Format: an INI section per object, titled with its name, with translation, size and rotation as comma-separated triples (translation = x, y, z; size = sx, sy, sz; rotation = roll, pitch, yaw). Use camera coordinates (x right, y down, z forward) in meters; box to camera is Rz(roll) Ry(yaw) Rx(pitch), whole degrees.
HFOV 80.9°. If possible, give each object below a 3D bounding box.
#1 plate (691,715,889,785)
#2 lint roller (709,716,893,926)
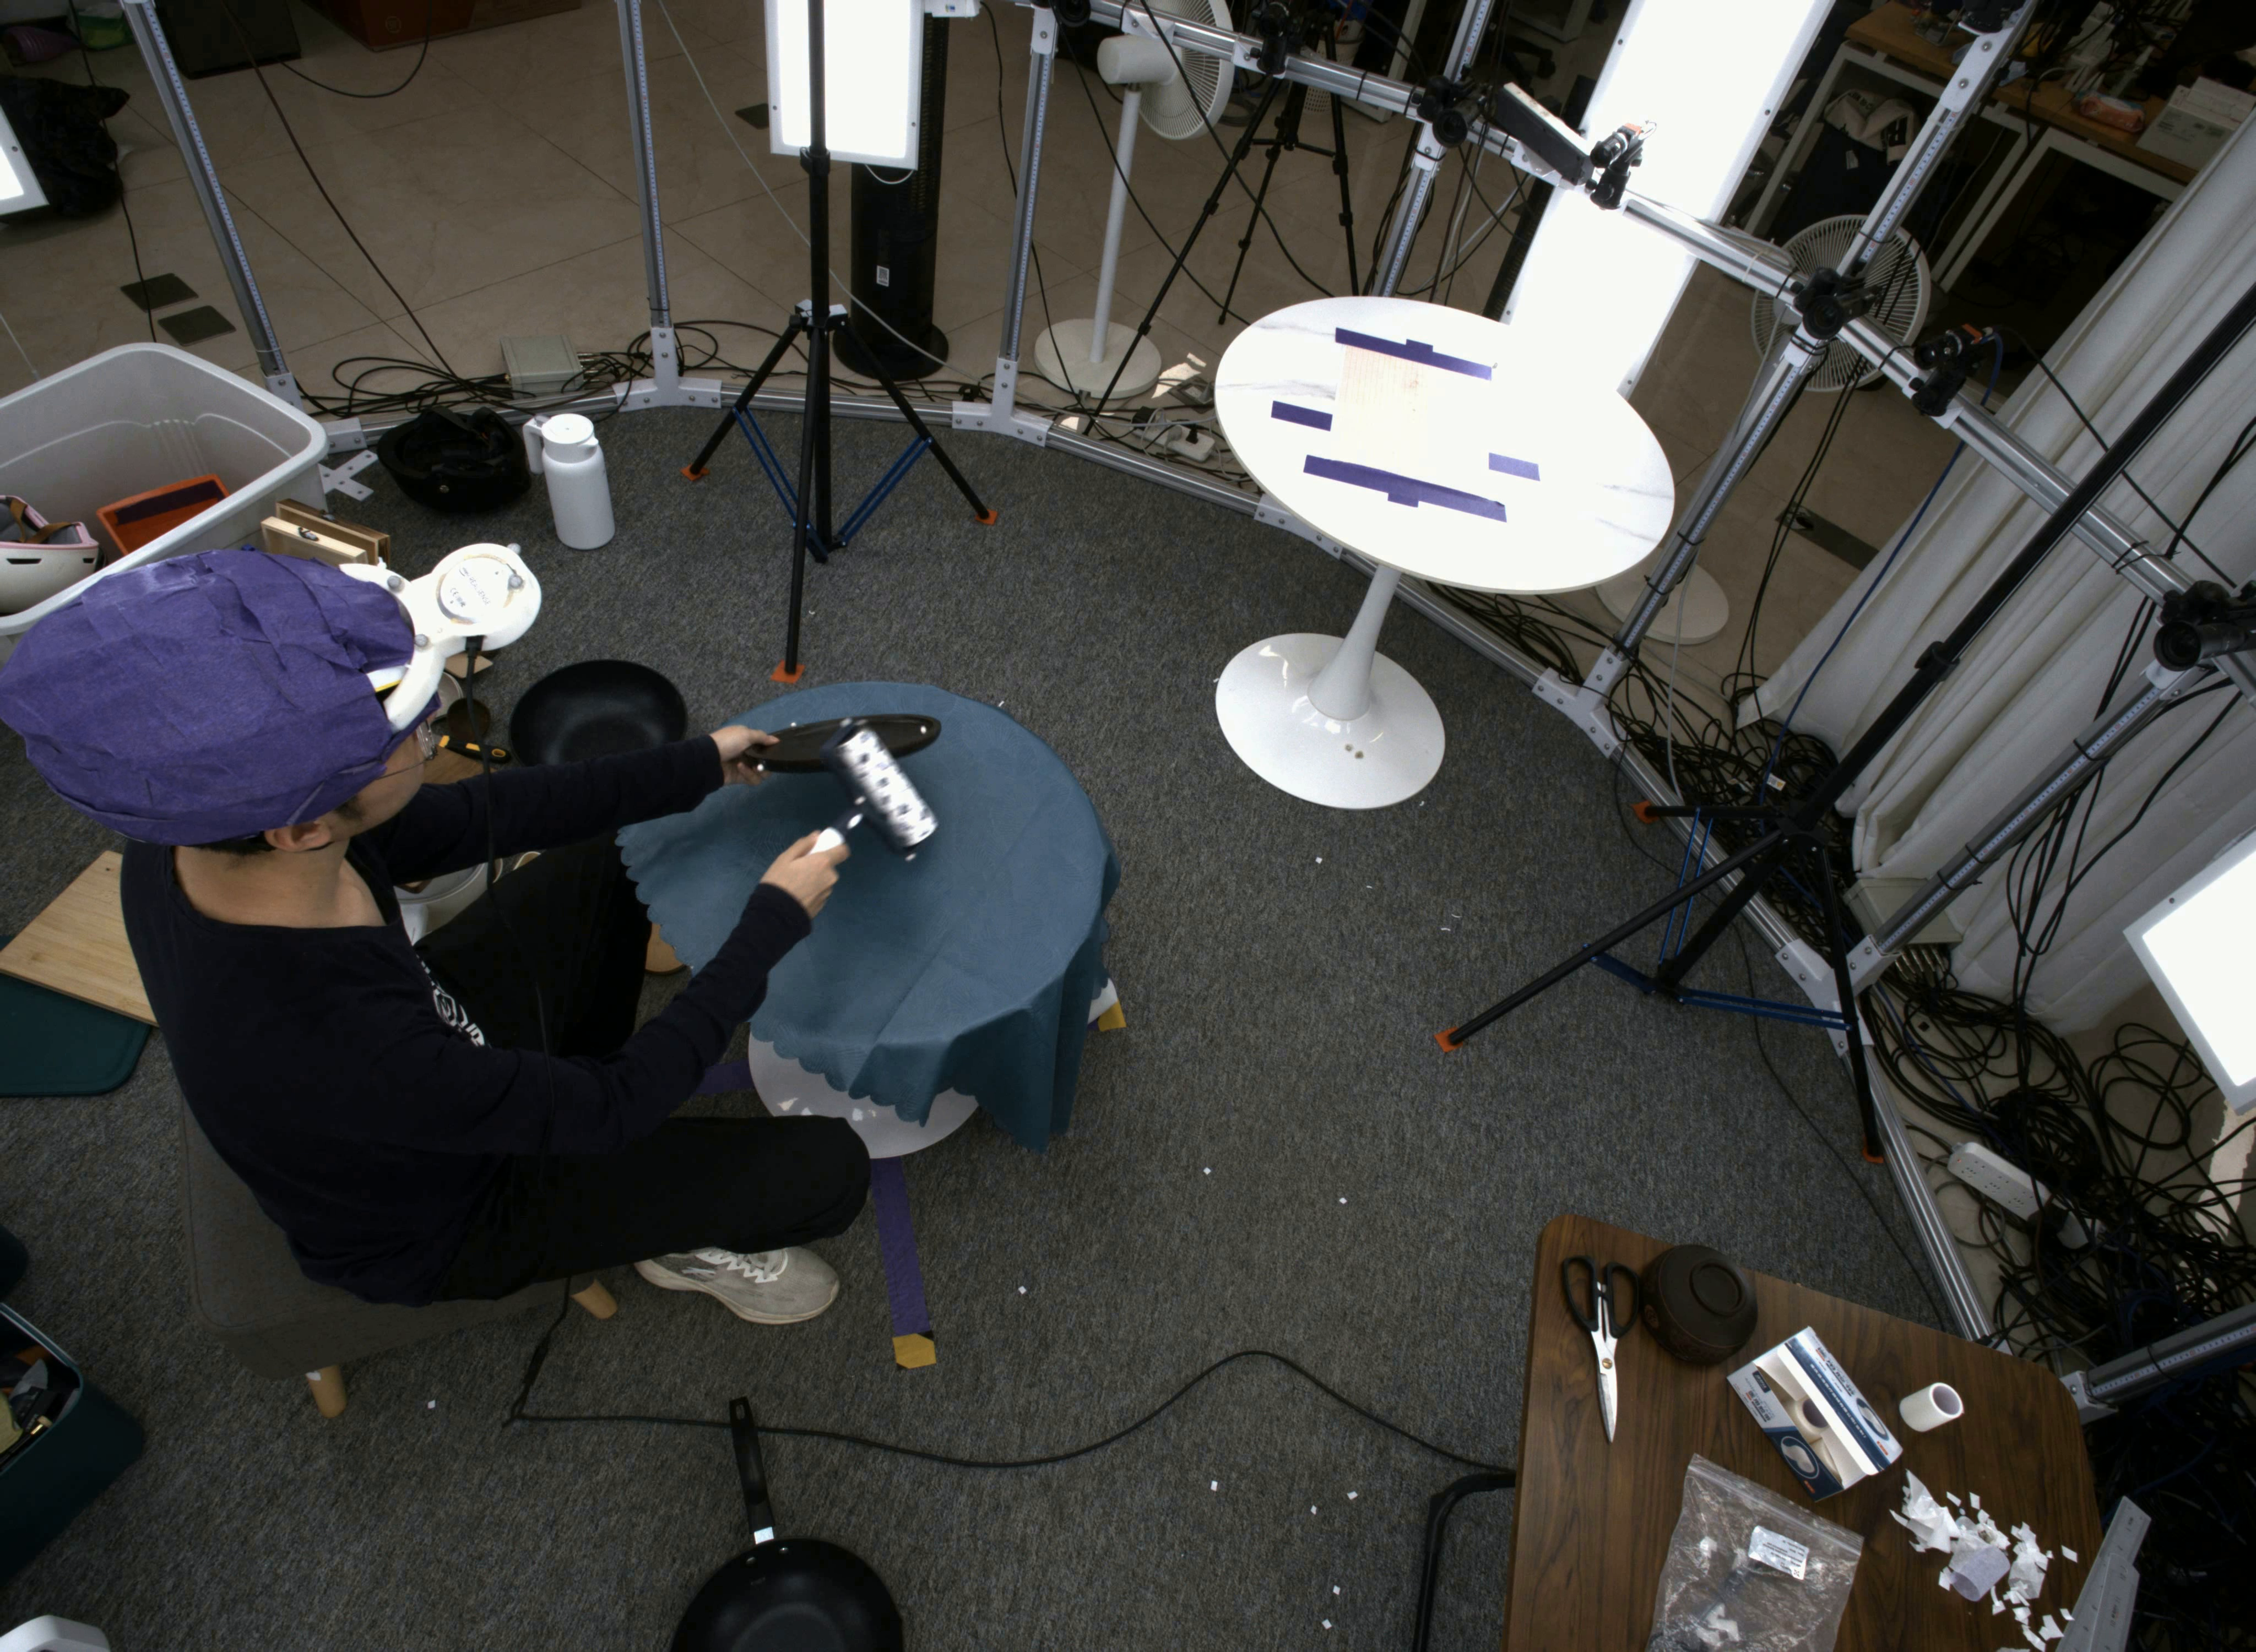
[plate]
translation = -0.430, -0.100, 1.654
size = 0.251, 0.030, 0.251
rotation = -7, 17, 4
[lint roller]
translation = -0.394, 0.018, 1.500
size = 0.048, 0.183, 0.246
rotation = 6, 51, 42
